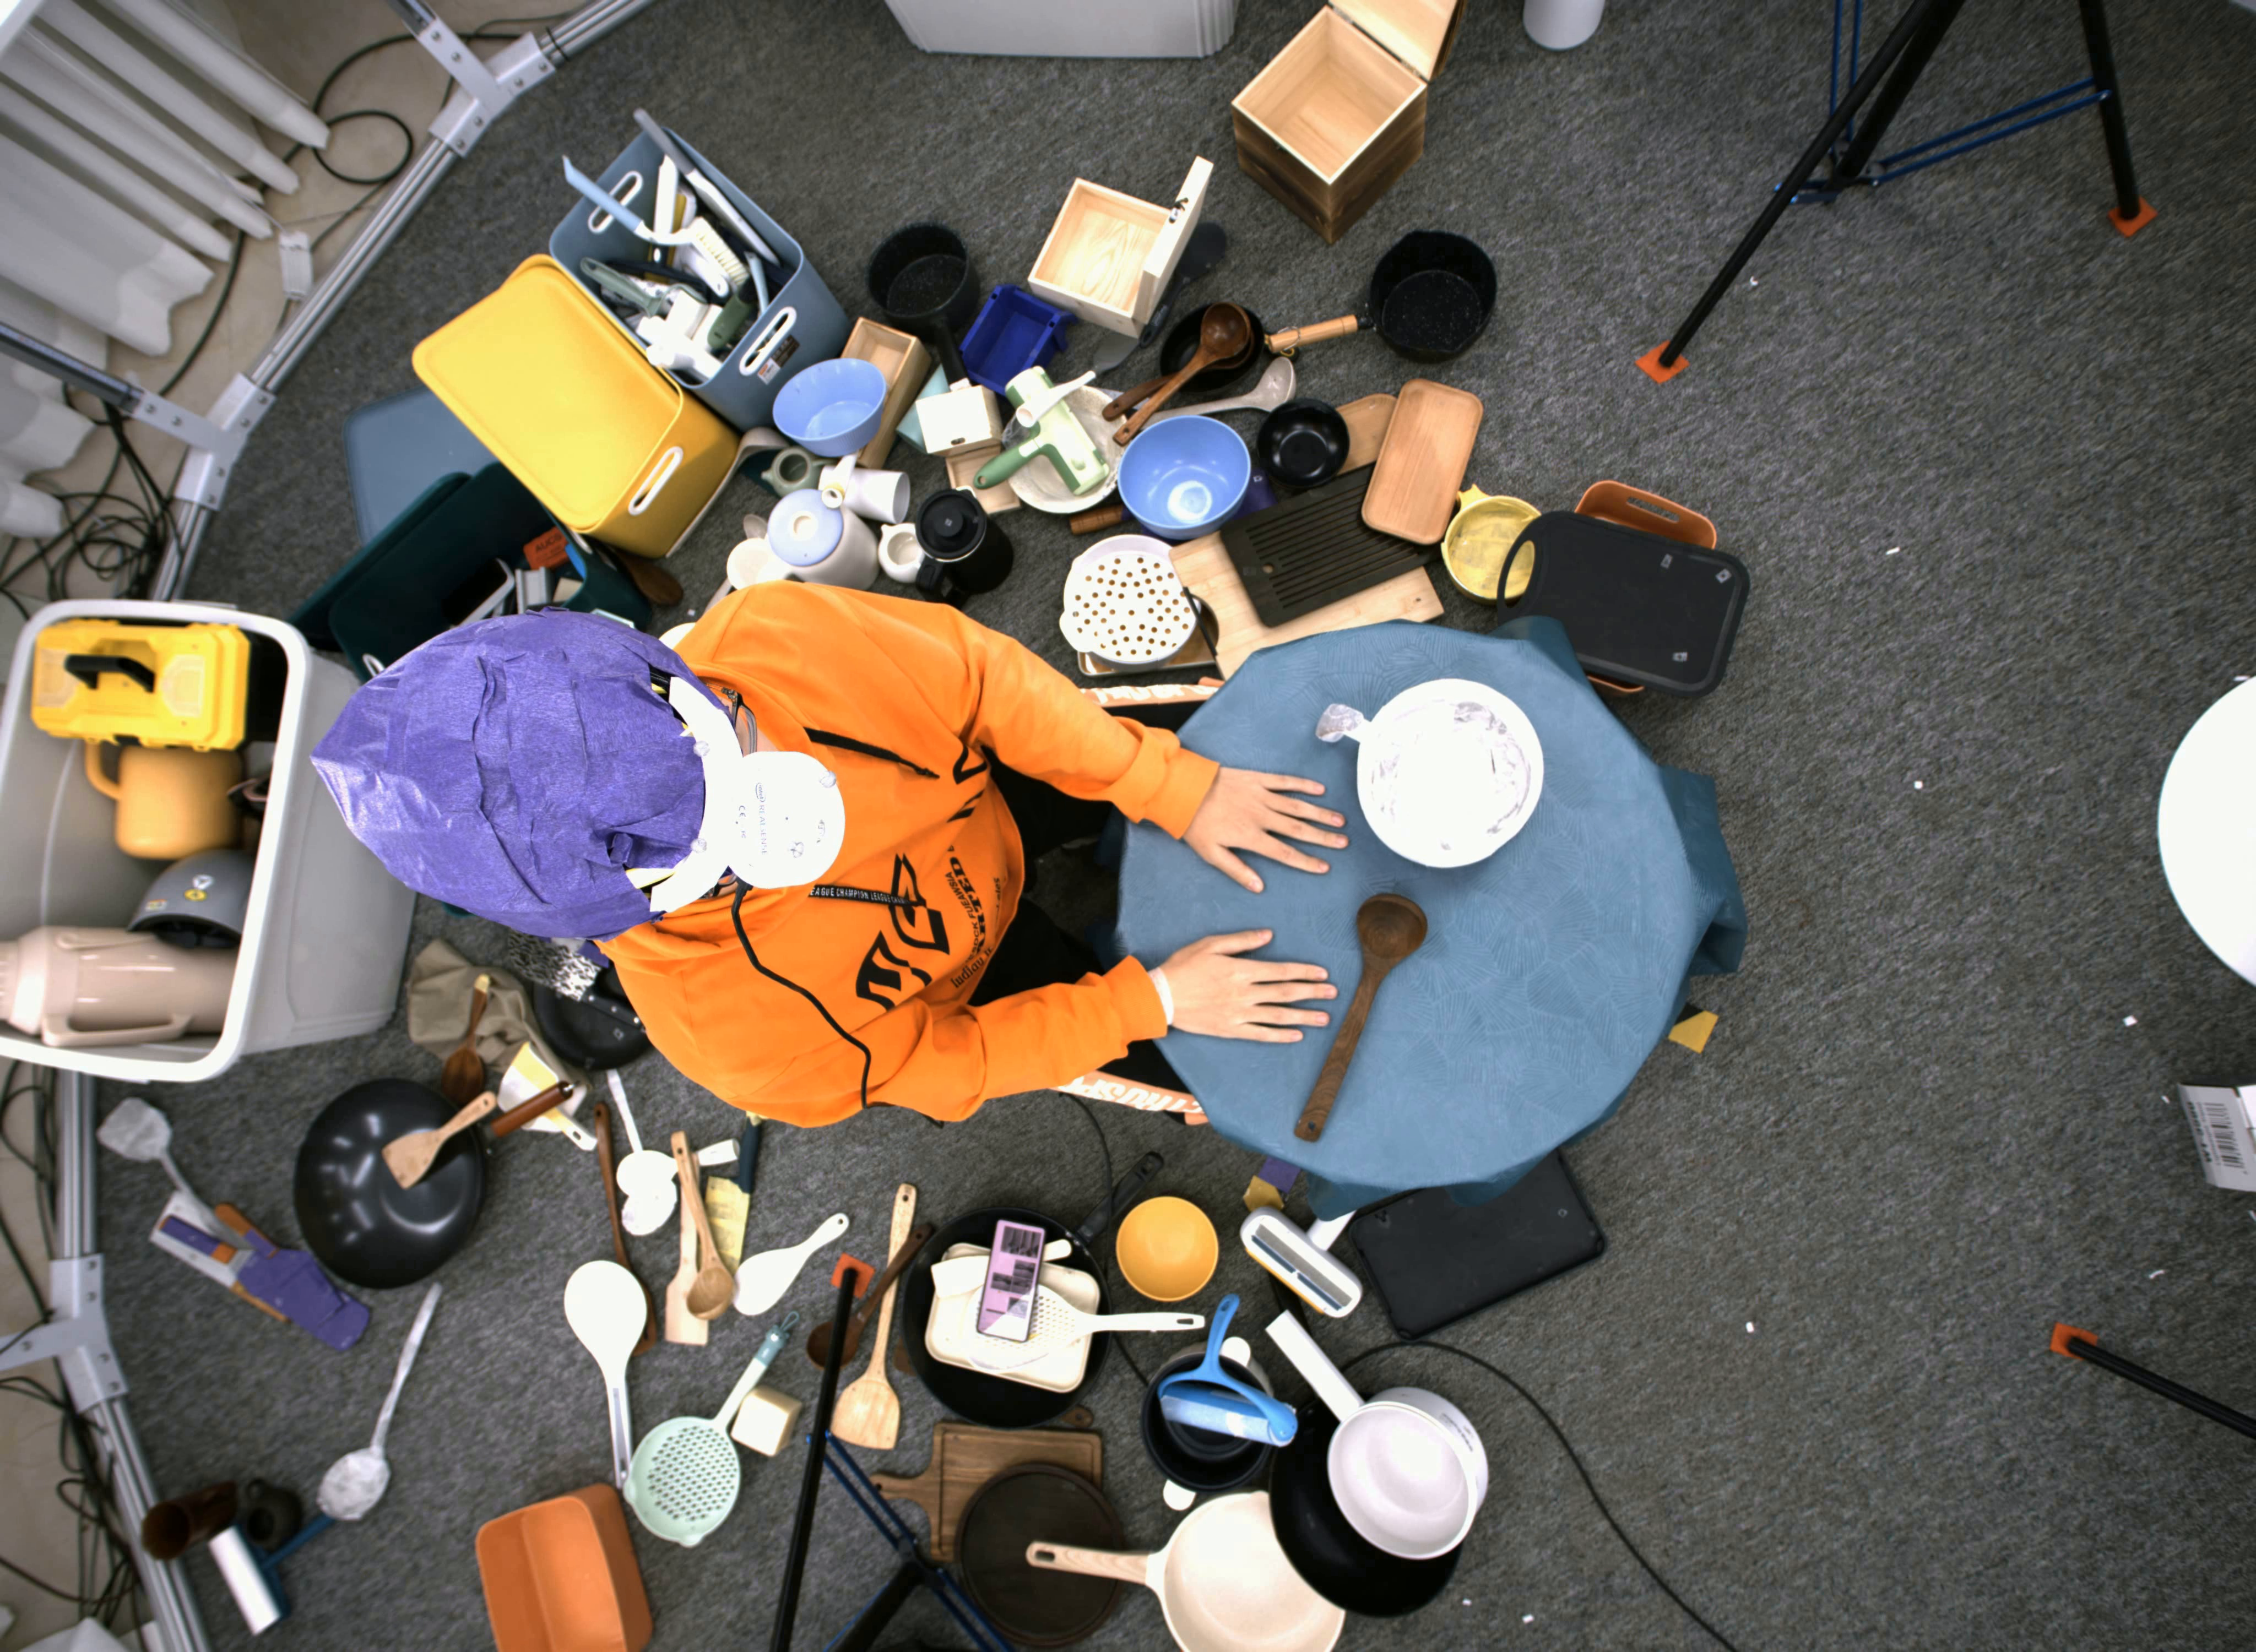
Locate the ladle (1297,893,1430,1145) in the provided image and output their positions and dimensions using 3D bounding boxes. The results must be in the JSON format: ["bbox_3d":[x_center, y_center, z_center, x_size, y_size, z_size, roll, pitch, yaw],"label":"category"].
[{"bbox_3d":[0.233,0.199,1.424,0.076,0.071,0.274,23,90,16],"label":"ladle"}]

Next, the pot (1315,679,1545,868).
[{"bbox_3d":[0.297,-0.063,1.392,0.233,0.137,0.179,27,90,11],"label":"pot"}]
